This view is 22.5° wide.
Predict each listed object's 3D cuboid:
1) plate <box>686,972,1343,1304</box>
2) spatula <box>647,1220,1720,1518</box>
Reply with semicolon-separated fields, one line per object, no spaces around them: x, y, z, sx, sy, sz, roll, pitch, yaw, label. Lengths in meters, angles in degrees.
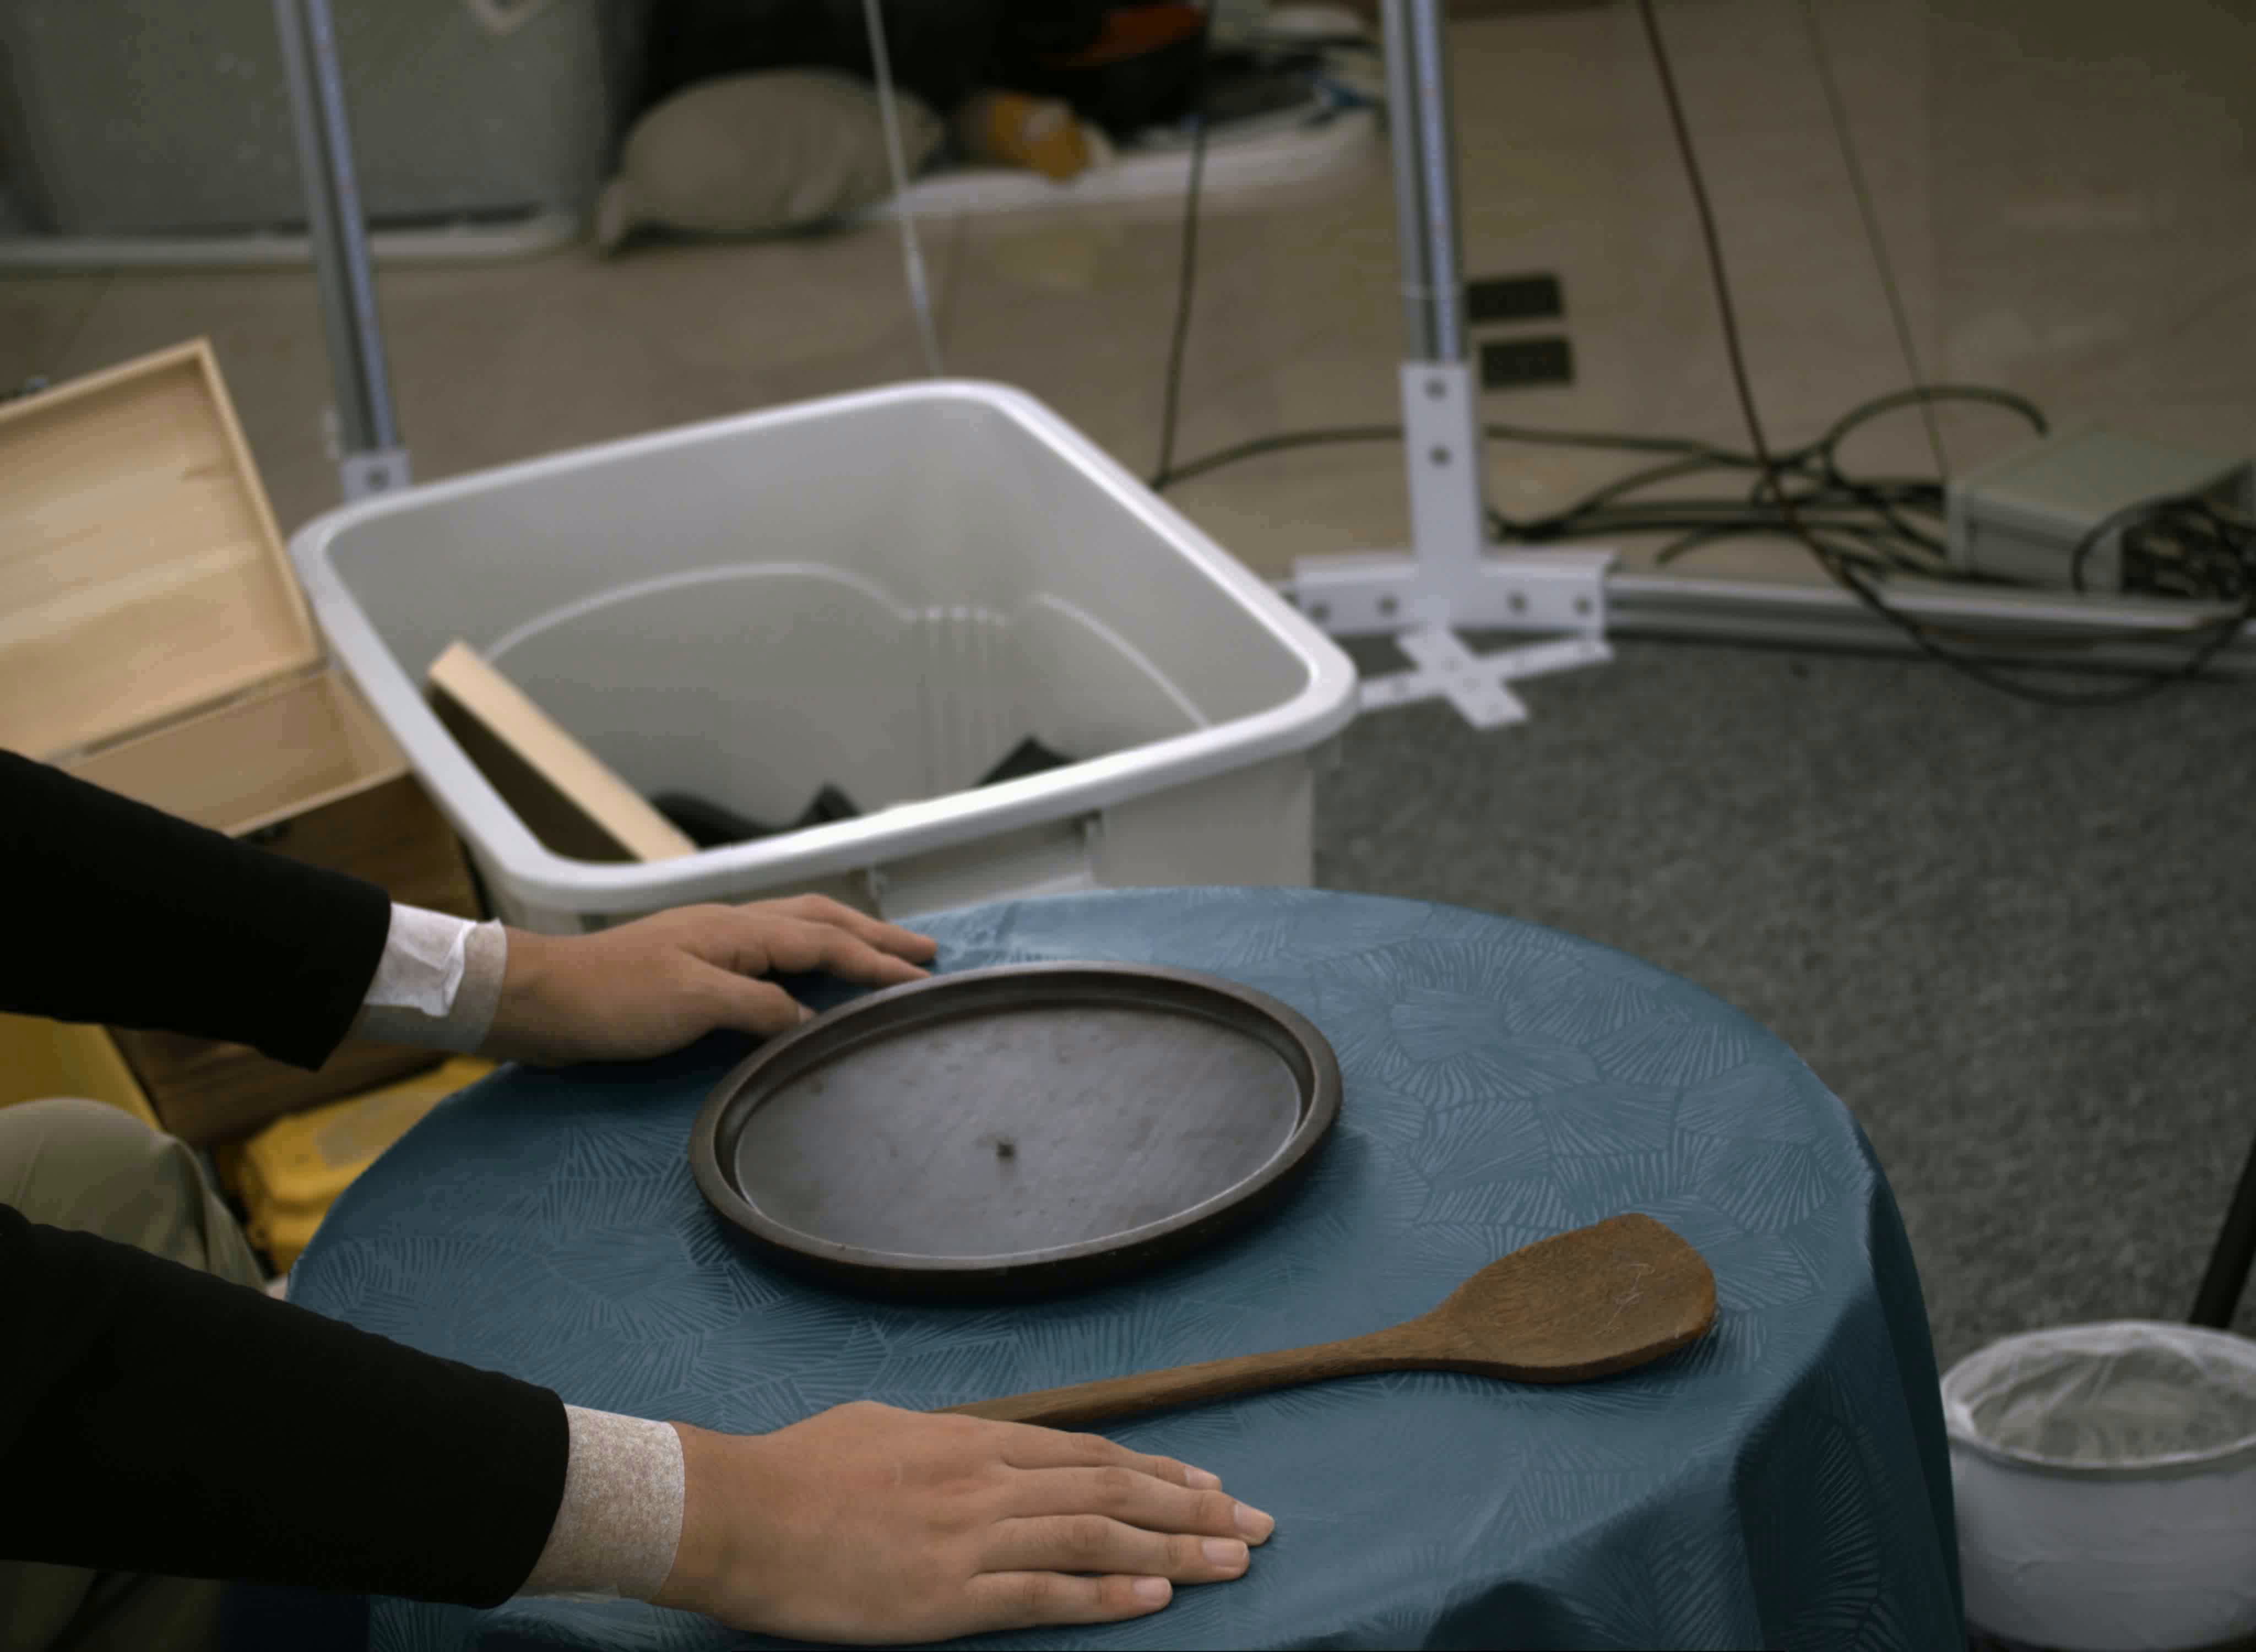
-0.043;0.118;2.179;0.254;0.029;0.251;-4;26;2;plate
0.020;0.197;2.001;0.385;0.016;0.095;-11;25;-8;spatula
